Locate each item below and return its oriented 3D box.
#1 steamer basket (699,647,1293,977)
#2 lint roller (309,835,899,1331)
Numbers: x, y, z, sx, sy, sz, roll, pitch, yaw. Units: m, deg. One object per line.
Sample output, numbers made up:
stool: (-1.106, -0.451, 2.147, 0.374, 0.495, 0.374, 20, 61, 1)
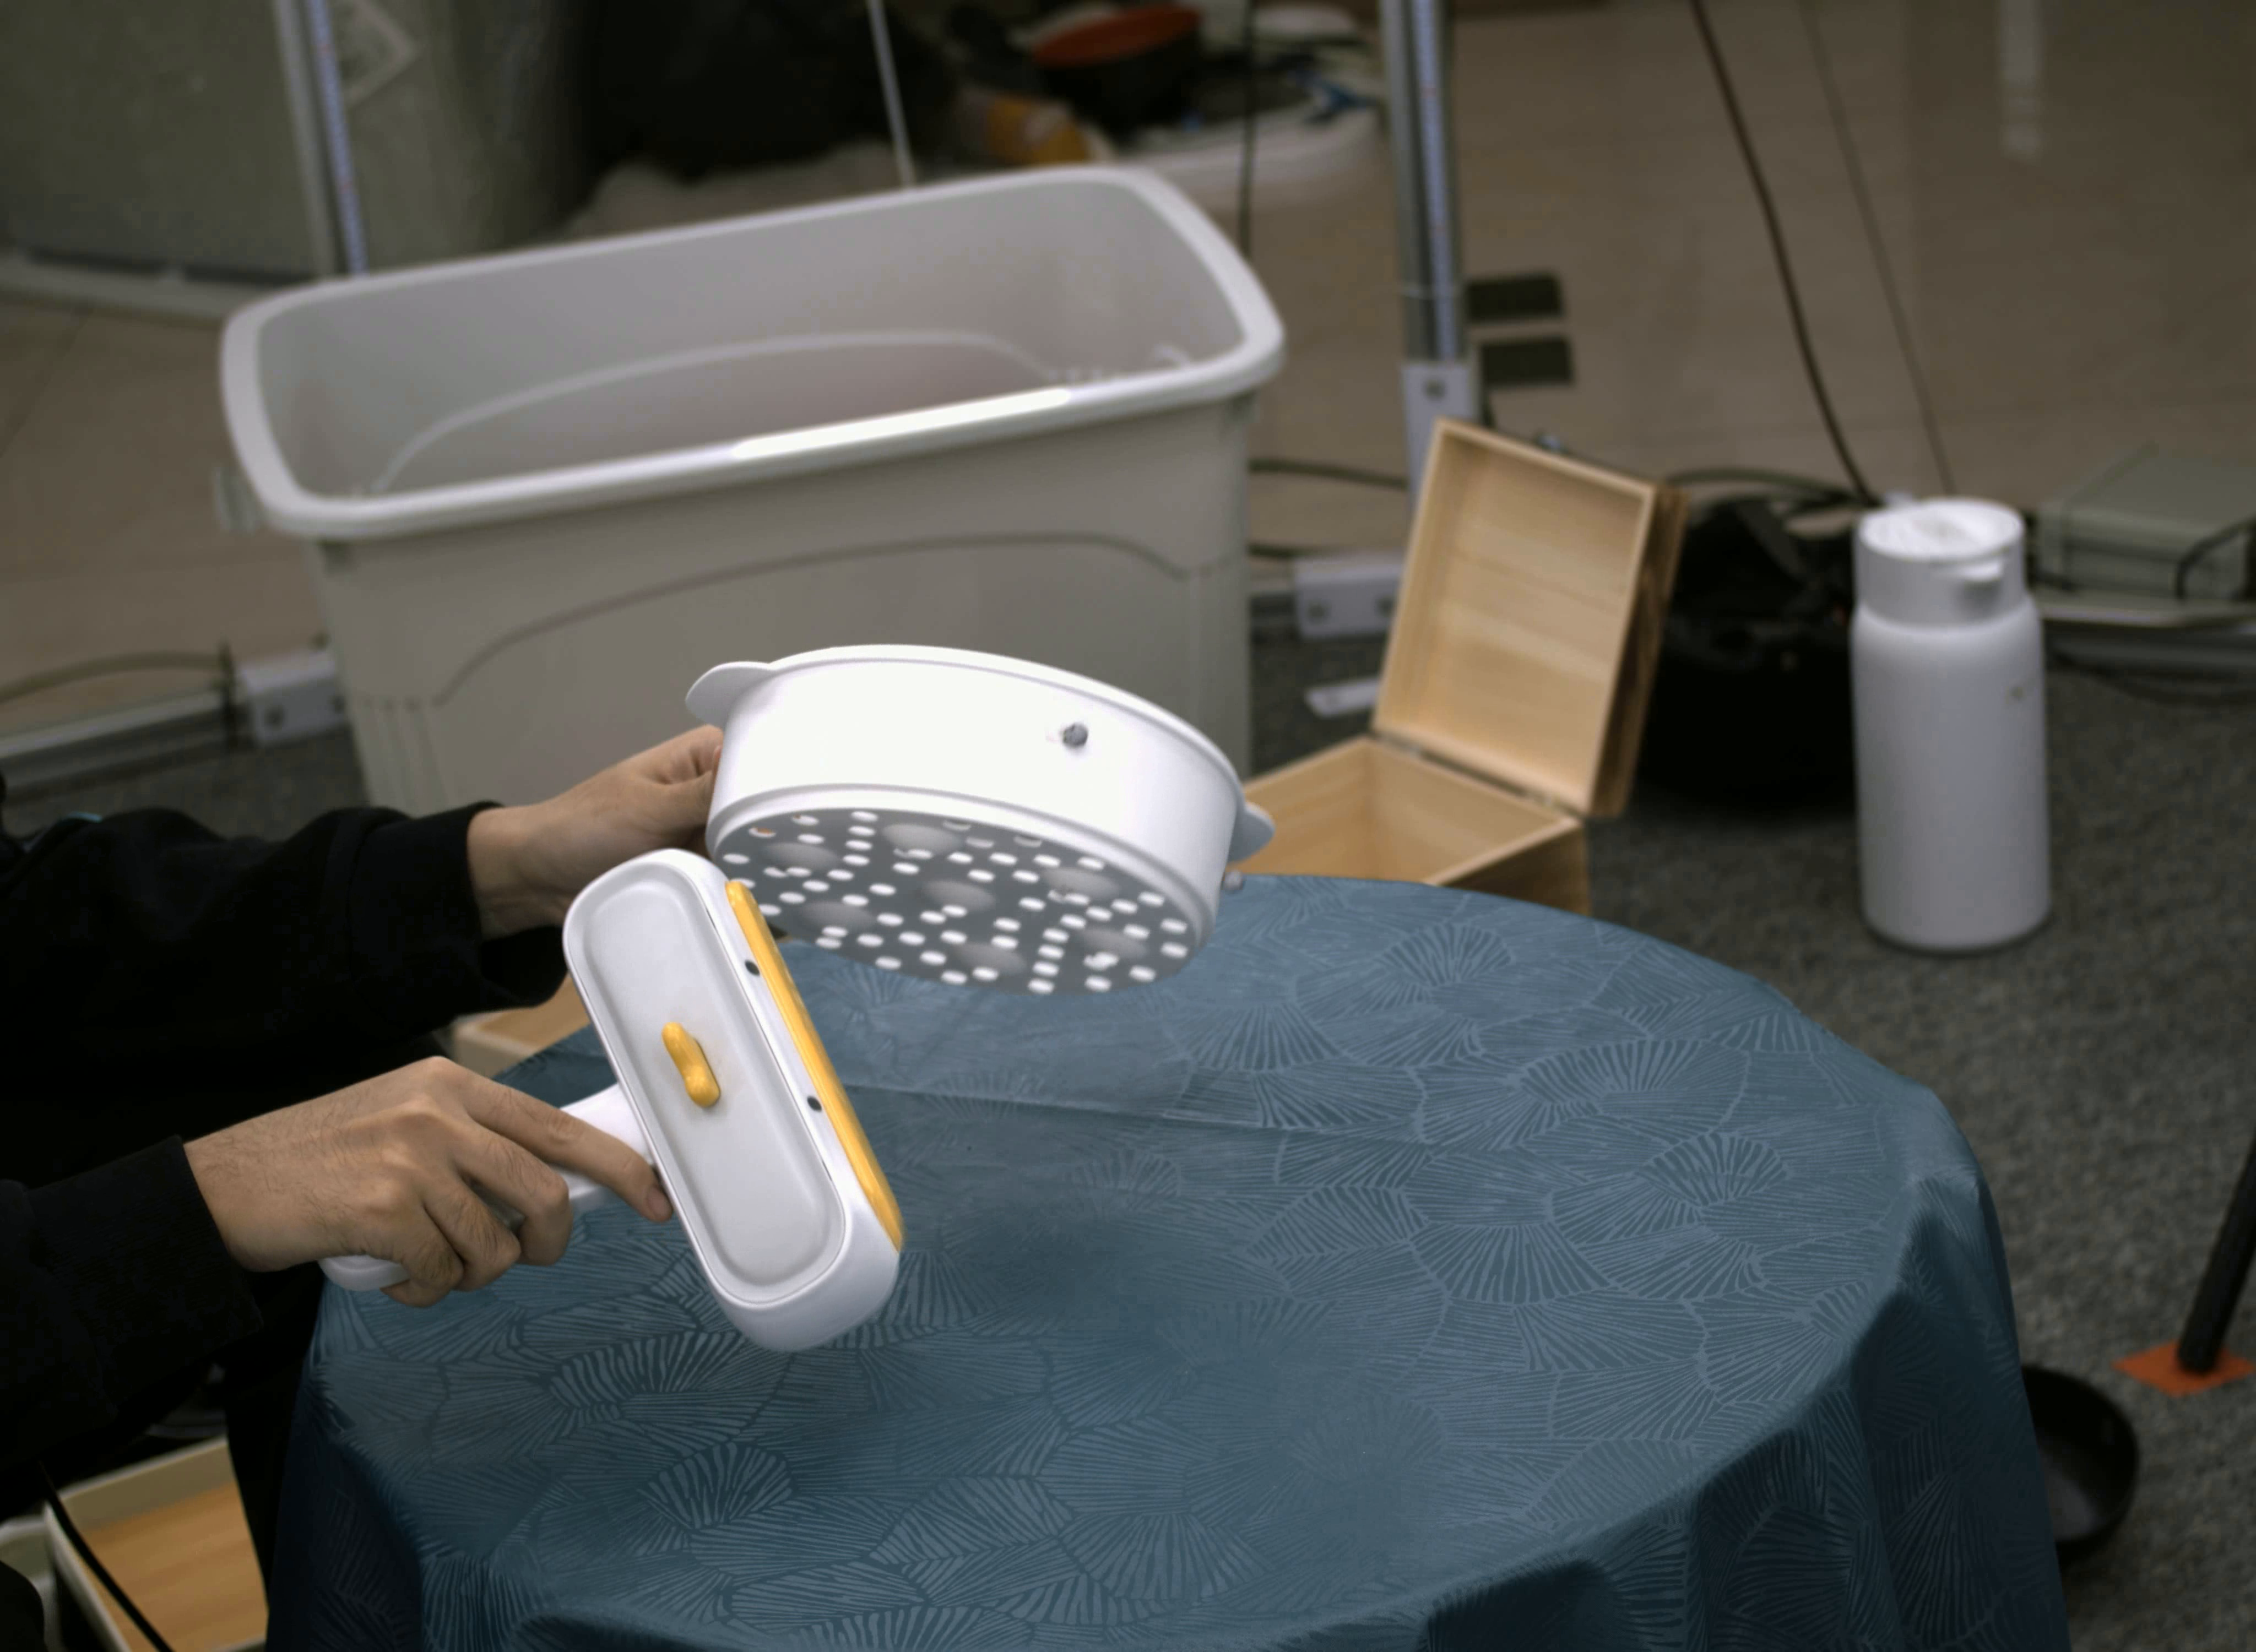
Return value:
steamer basket: (-0.053, -0.001, 2.125, 0.231, 0.068, 0.203, 15, -18, -16)
lint roller: (-0.197, 0.116, 1.999, 0.192, 0.075, 0.191, -29, 73, -3)
